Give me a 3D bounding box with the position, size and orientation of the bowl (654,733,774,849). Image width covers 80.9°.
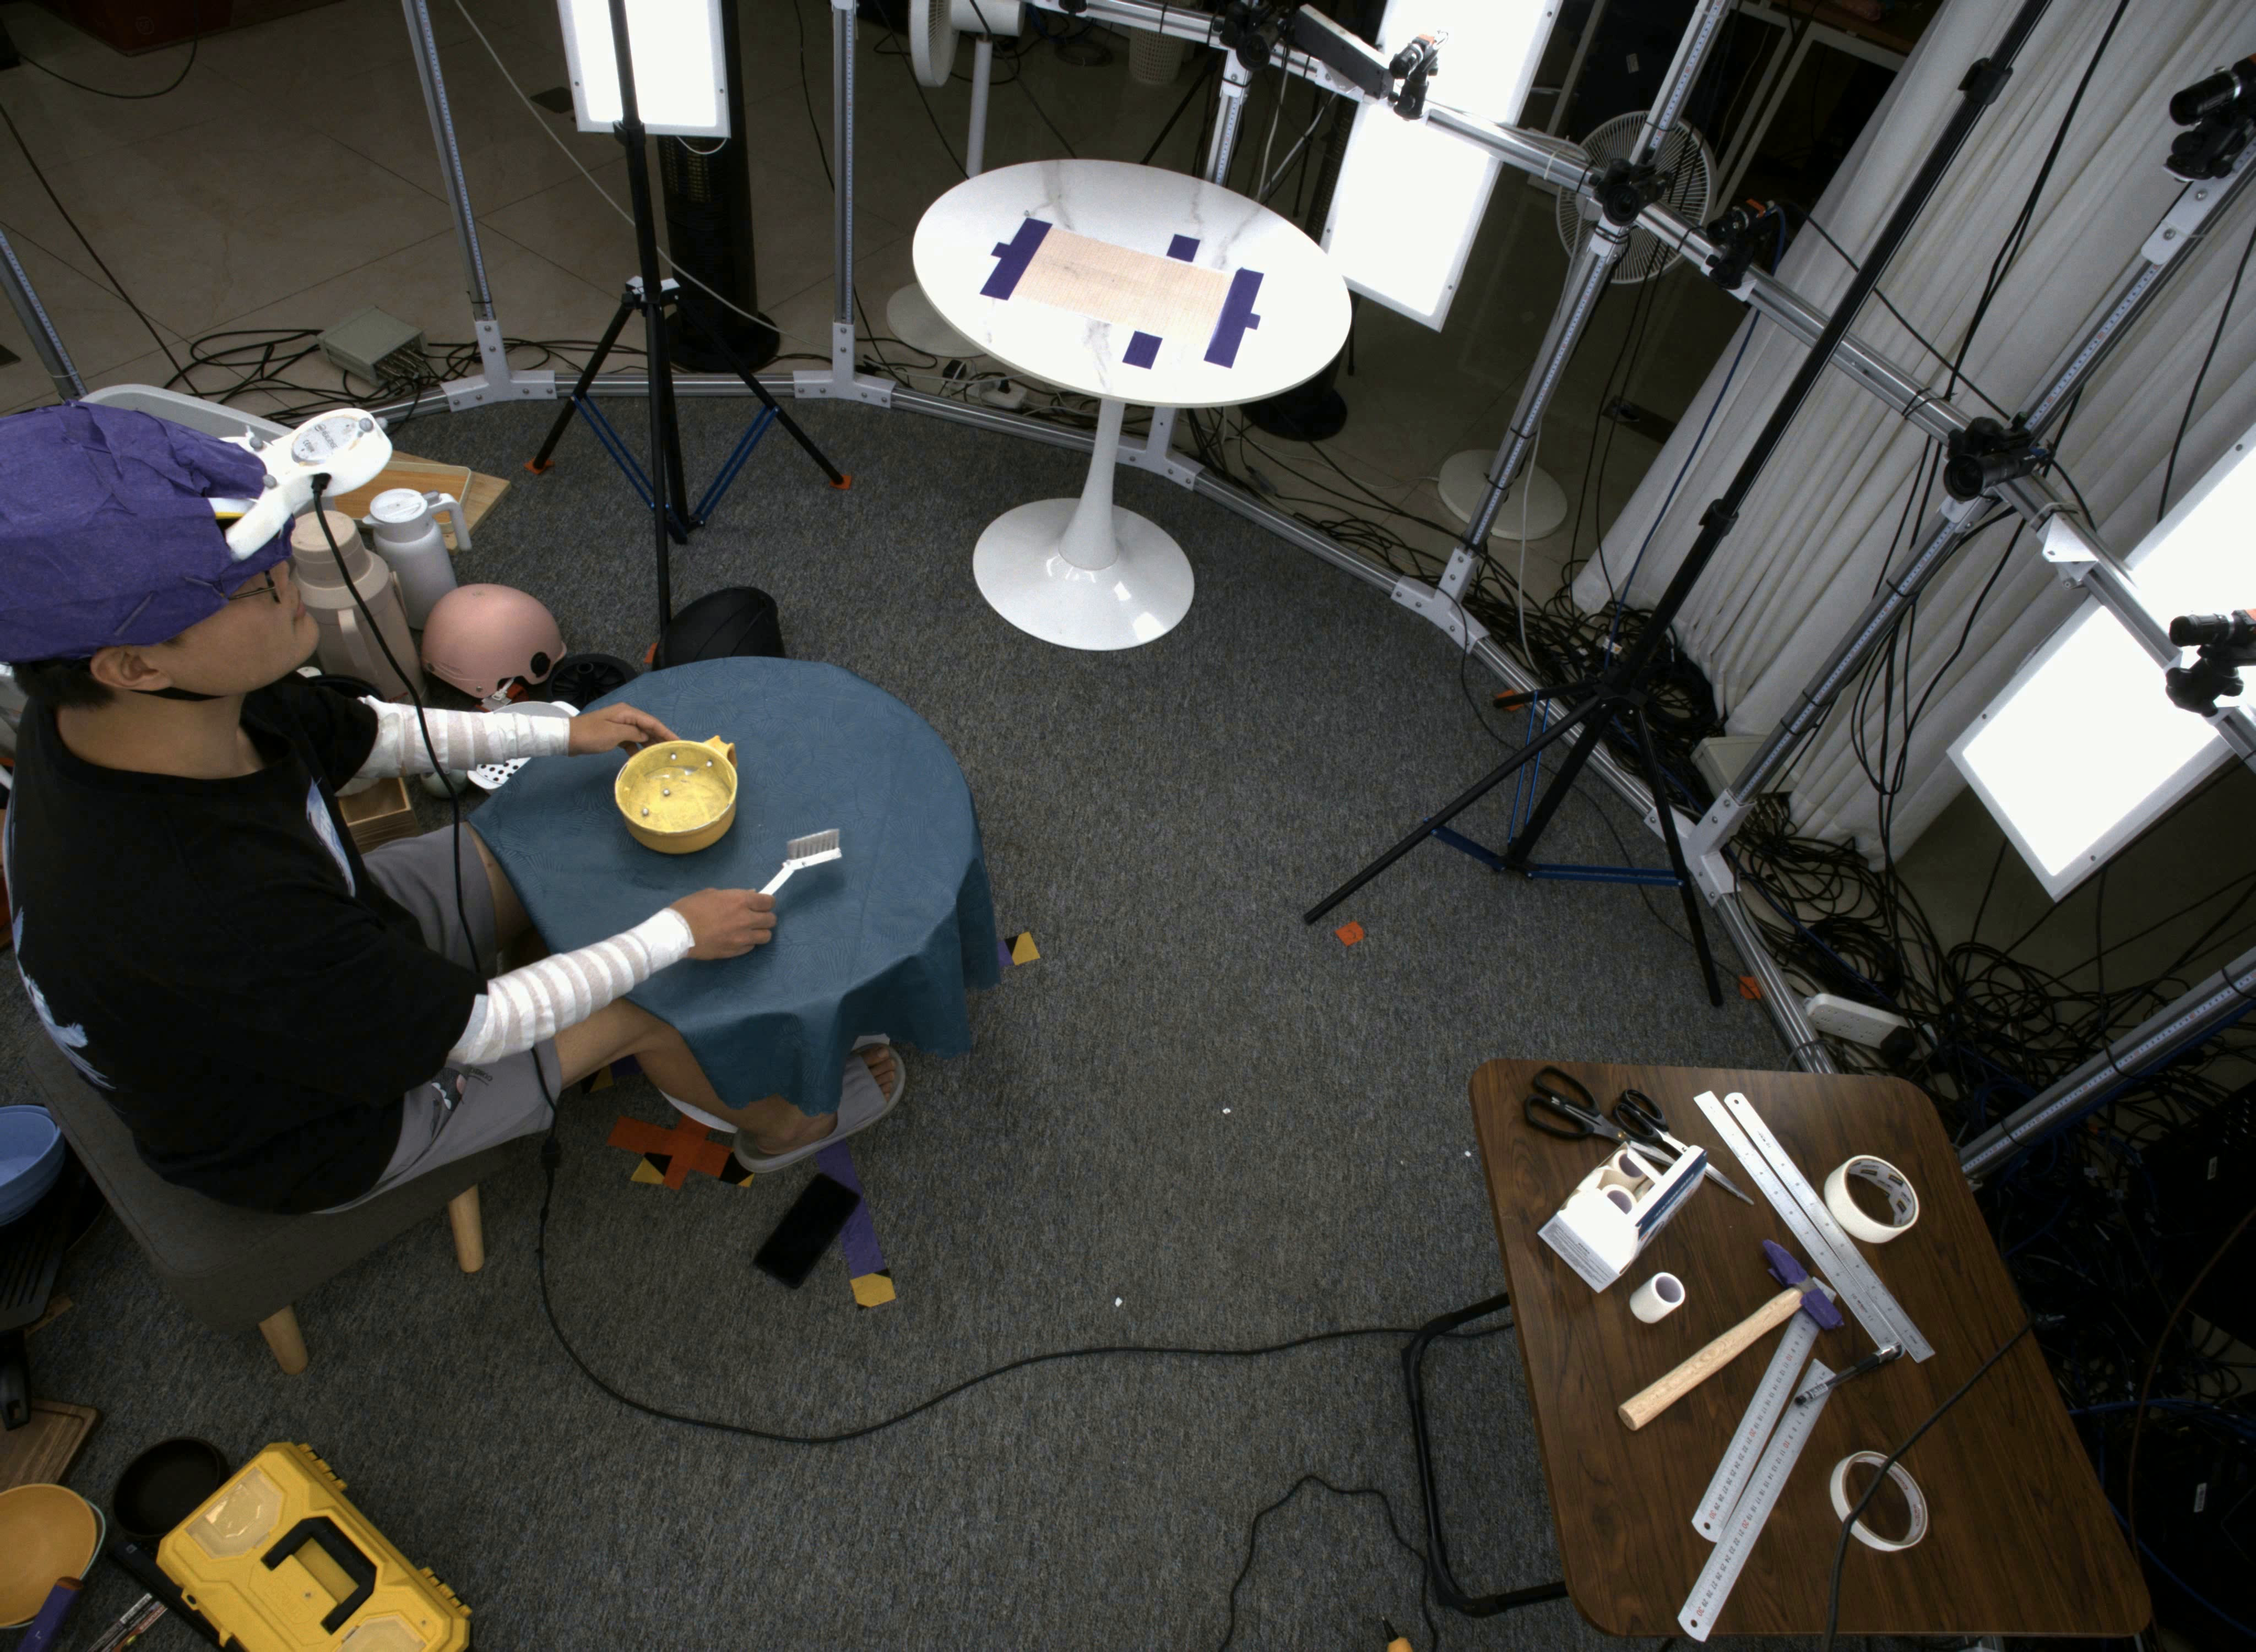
[{"bbox_3d":[-0.532,-0.049,1.700,0.150,0.076,0.178,24,51,10],"label":"bowl"}]

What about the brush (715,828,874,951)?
[{"bbox_3d":[-0.422,0.070,1.627,0.244,0.033,0.052,-35,113,-26],"label":"brush"}]
